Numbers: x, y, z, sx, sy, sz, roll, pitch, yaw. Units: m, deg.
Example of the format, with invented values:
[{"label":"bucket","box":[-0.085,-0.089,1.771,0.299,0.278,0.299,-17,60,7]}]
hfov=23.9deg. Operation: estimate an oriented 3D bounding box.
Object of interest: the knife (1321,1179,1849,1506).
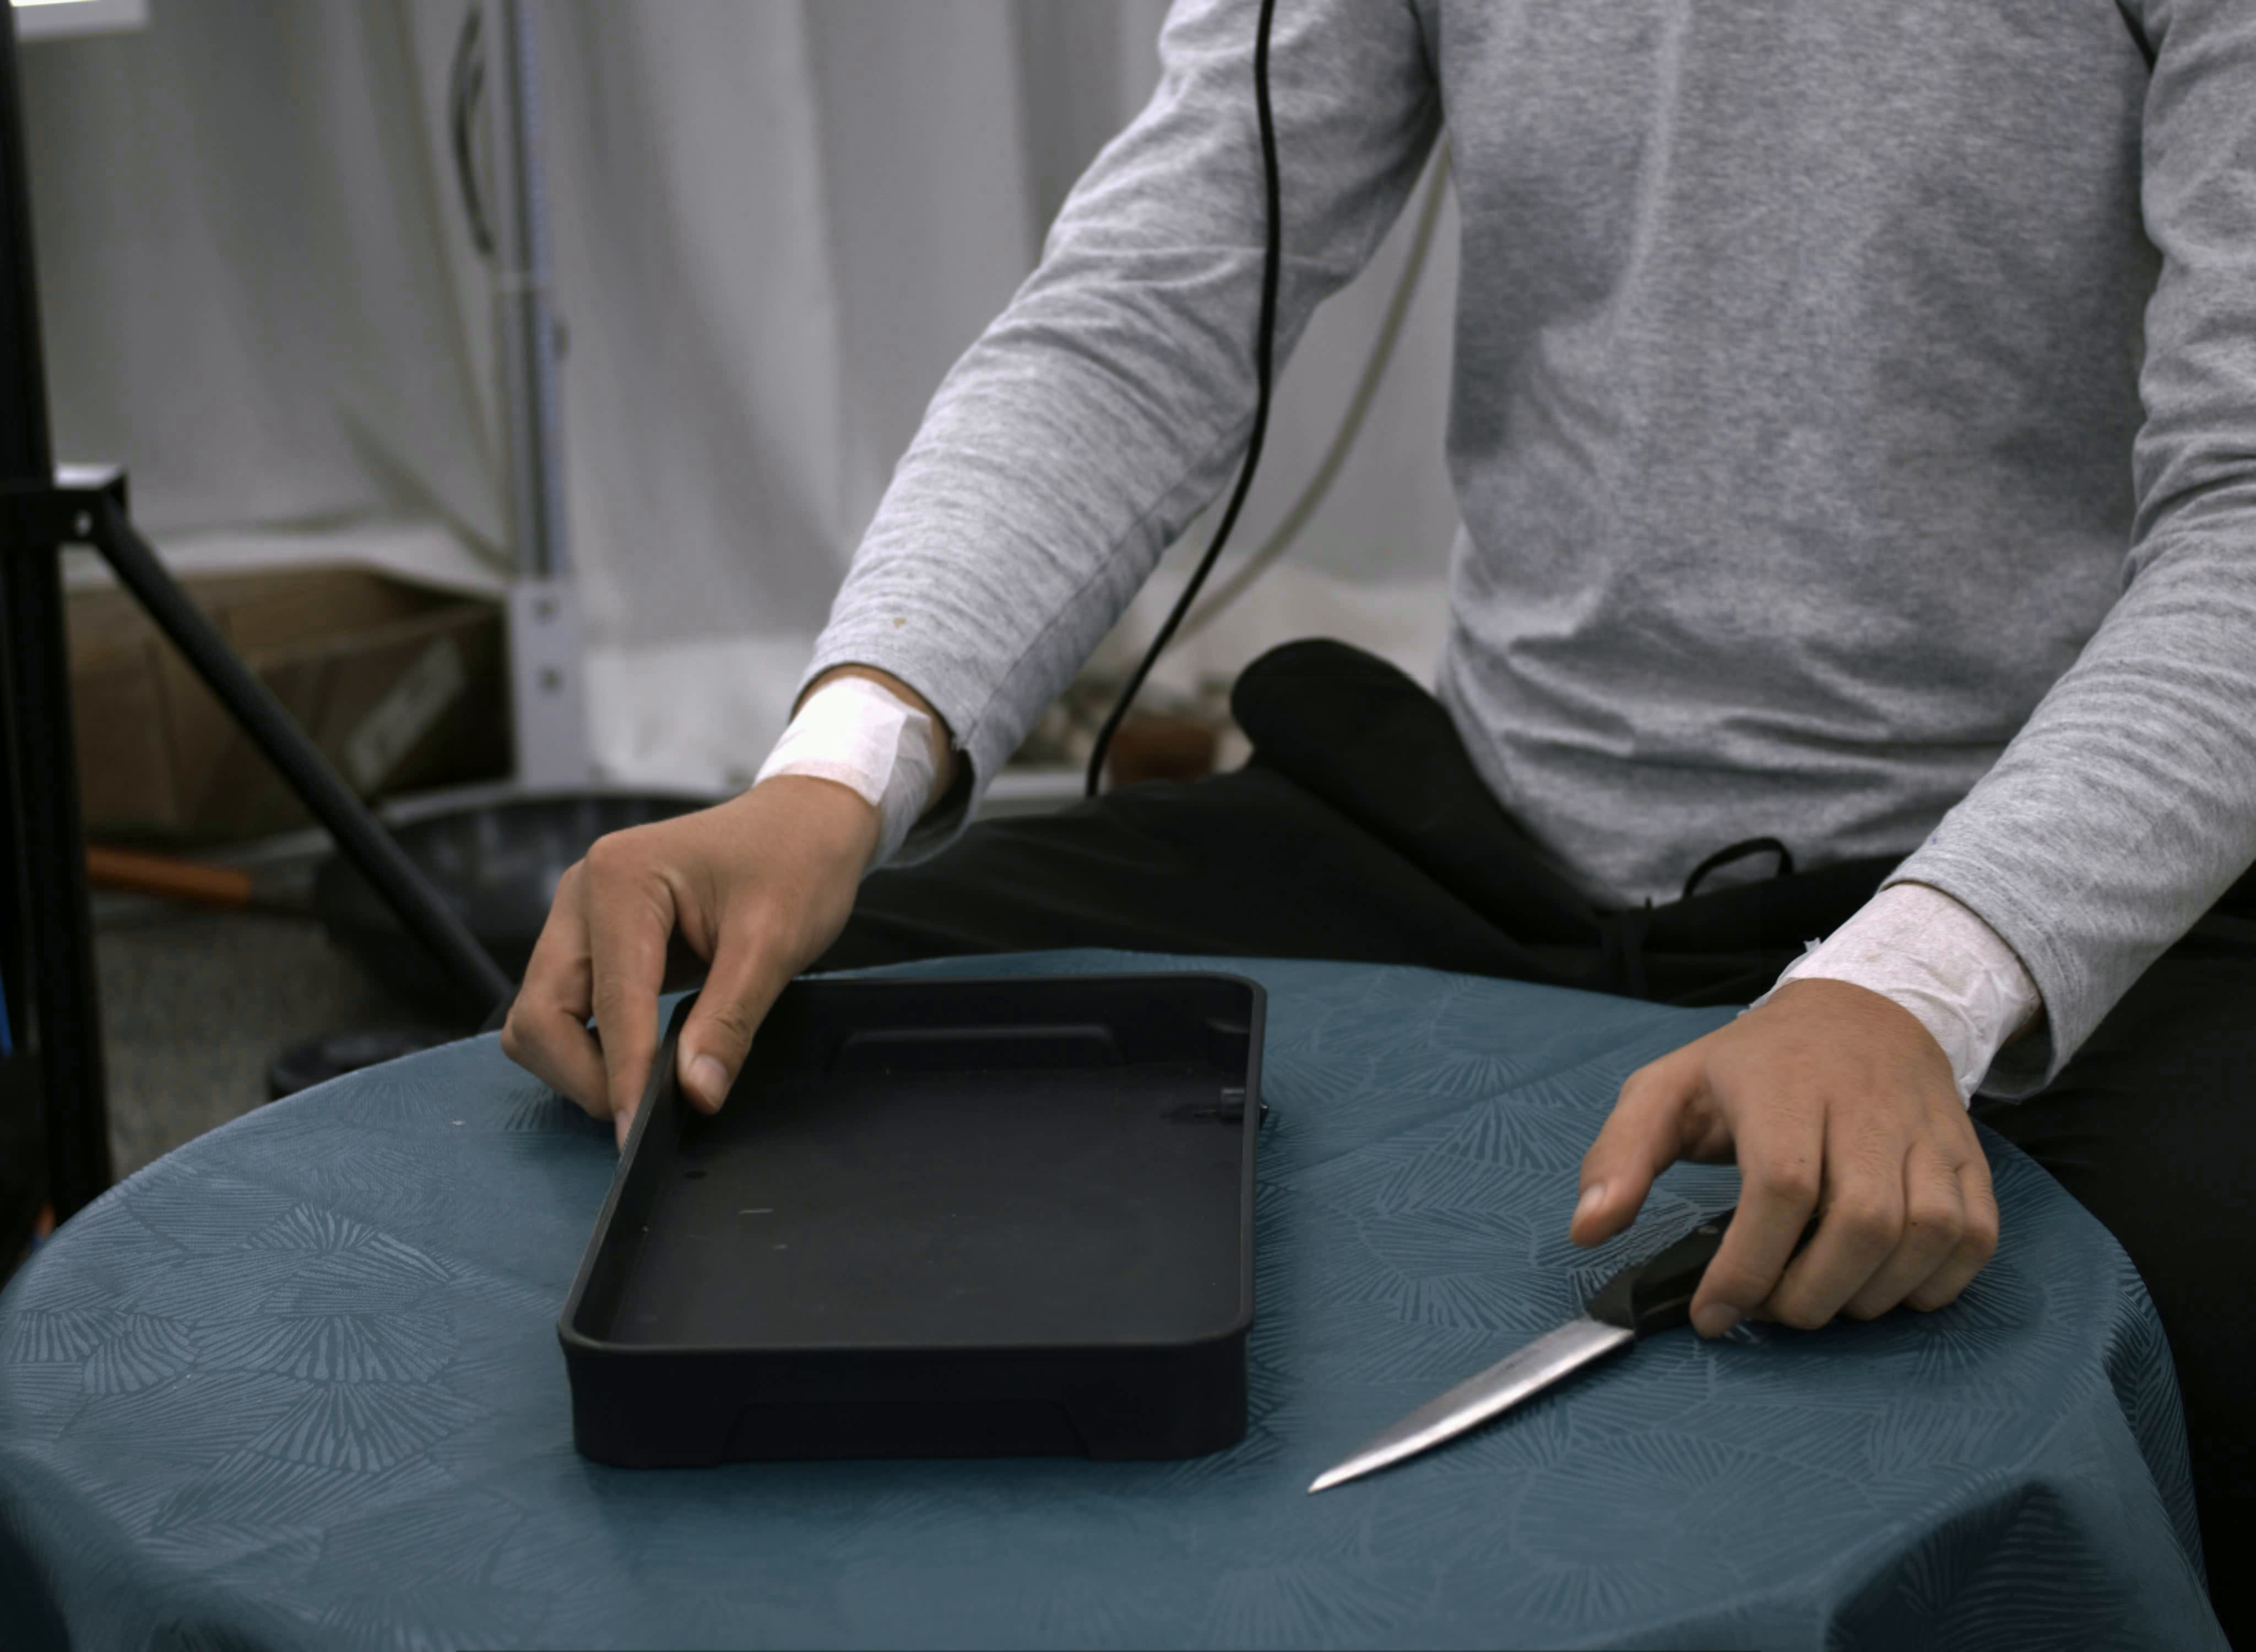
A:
[{"label":"knife","box":[0.122,0.138,1.416,0.025,0.016,0.233,5,20,41]}]

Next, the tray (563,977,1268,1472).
[{"label":"tray","box":[-0.054,0.107,1.507,0.184,0.037,0.319,-1,15,2]}]
